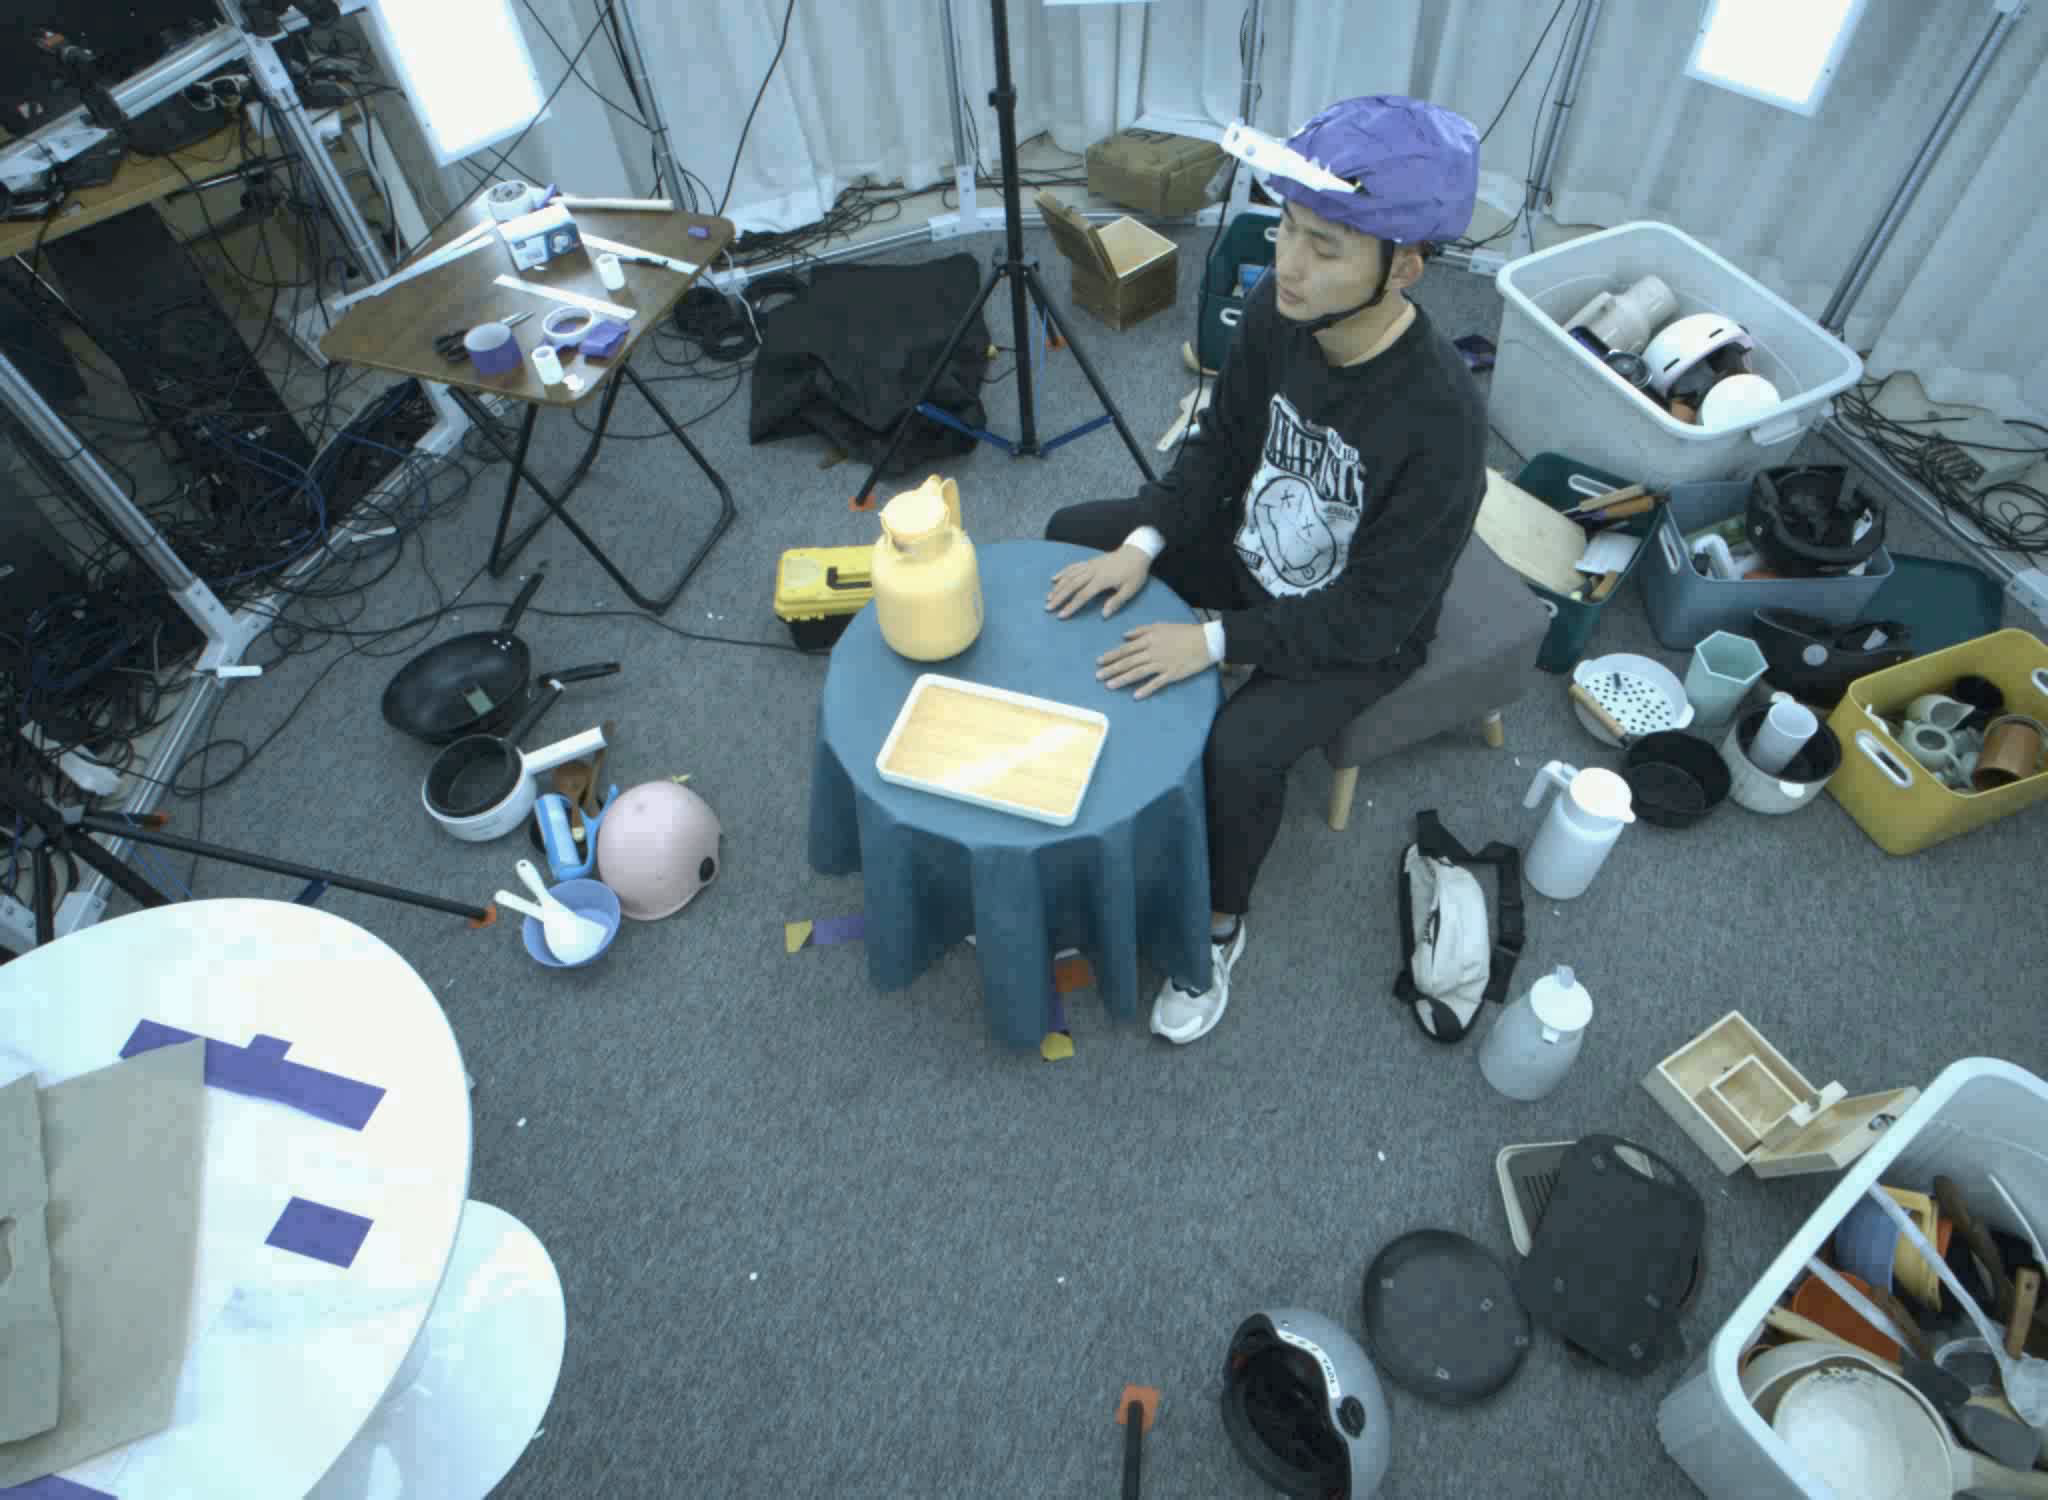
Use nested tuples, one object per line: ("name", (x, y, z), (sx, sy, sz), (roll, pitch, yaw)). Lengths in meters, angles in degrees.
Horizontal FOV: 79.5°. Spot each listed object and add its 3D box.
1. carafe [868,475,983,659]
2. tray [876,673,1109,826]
("carafe", (-0.142, -0.280, 1.826), (0.162, 0.263, 0.202), (18, 59, 13))
("tray", (-0.044, -0.004, 1.771), (0.297, 0.028, 0.191), (14, 56, 11))
